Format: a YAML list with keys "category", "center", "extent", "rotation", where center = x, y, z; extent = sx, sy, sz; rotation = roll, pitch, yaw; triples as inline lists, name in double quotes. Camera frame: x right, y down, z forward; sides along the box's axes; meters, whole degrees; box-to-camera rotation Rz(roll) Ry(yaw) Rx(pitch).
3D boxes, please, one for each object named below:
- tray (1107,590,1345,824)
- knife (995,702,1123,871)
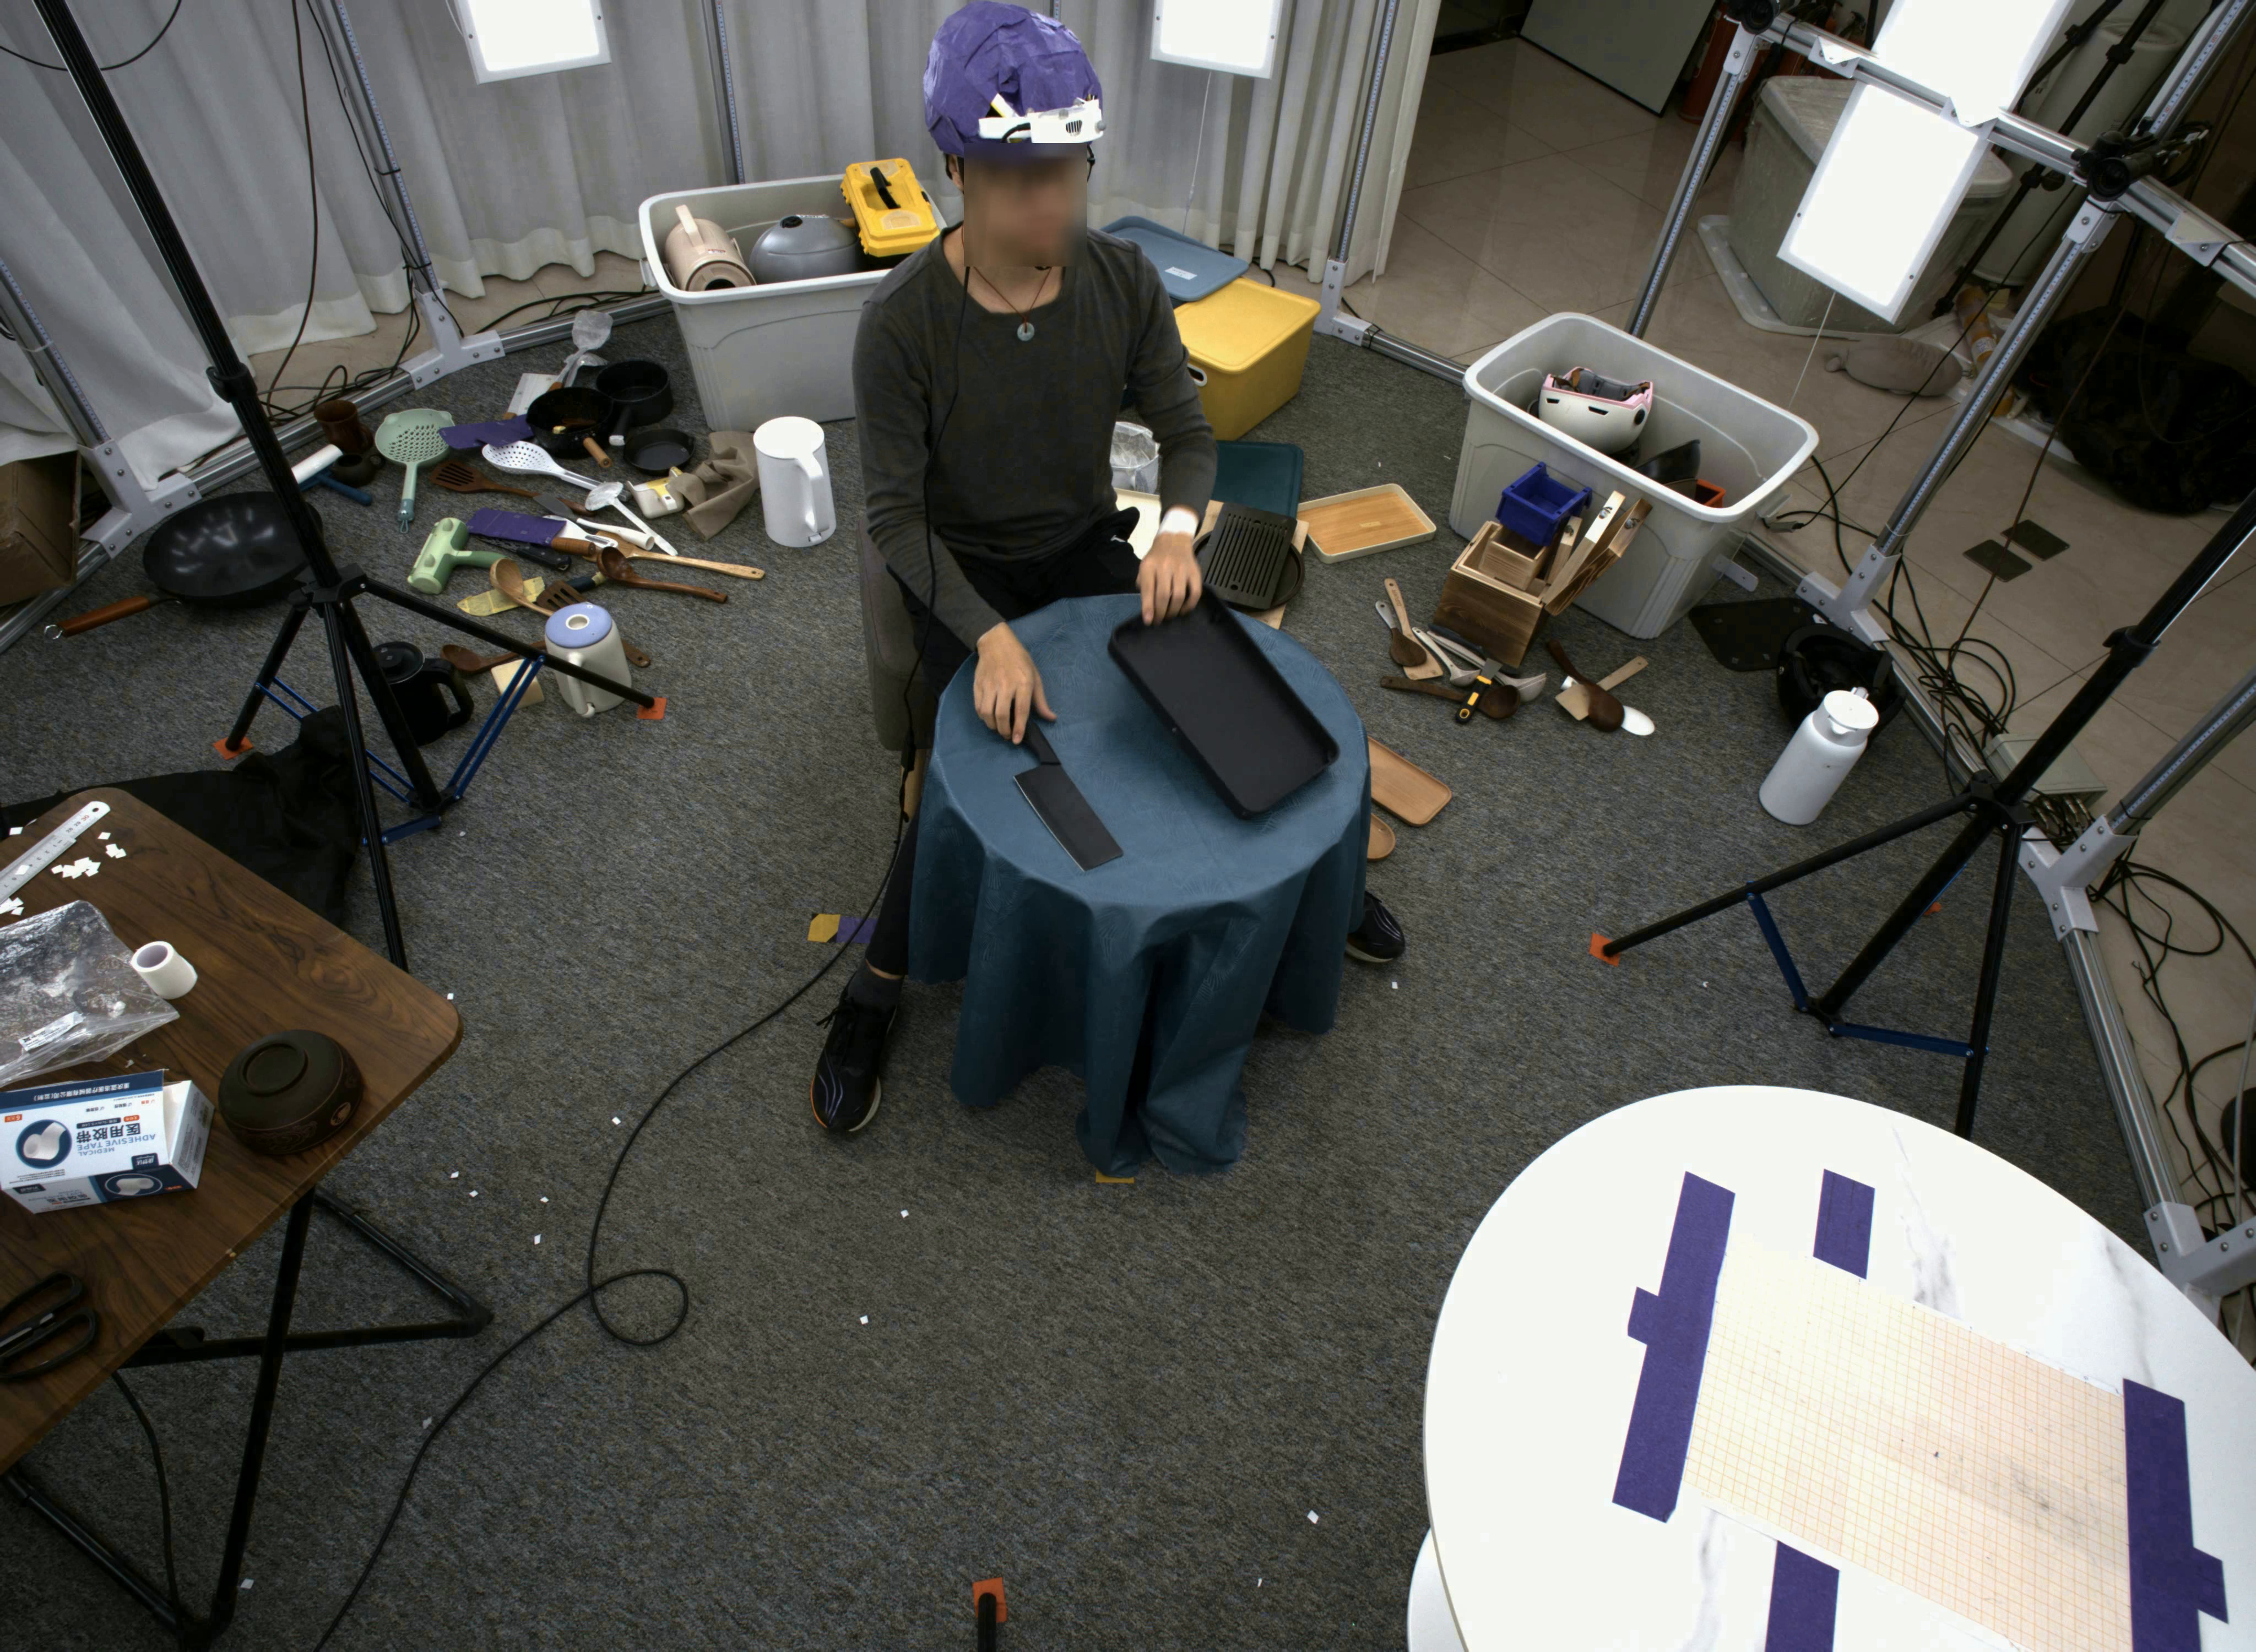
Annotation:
- category: "tray"
  center: [0.132, -0.164, 1.734]
  extent: [0.186, 0.036, 0.320]
  rotation: [-35, 77, -28]
- category: "knife"
  center: [-0.105, -0.058, 1.702]
  extent: [0.081, 0.020, 0.309]
  rotation: [-18, 54, -19]
